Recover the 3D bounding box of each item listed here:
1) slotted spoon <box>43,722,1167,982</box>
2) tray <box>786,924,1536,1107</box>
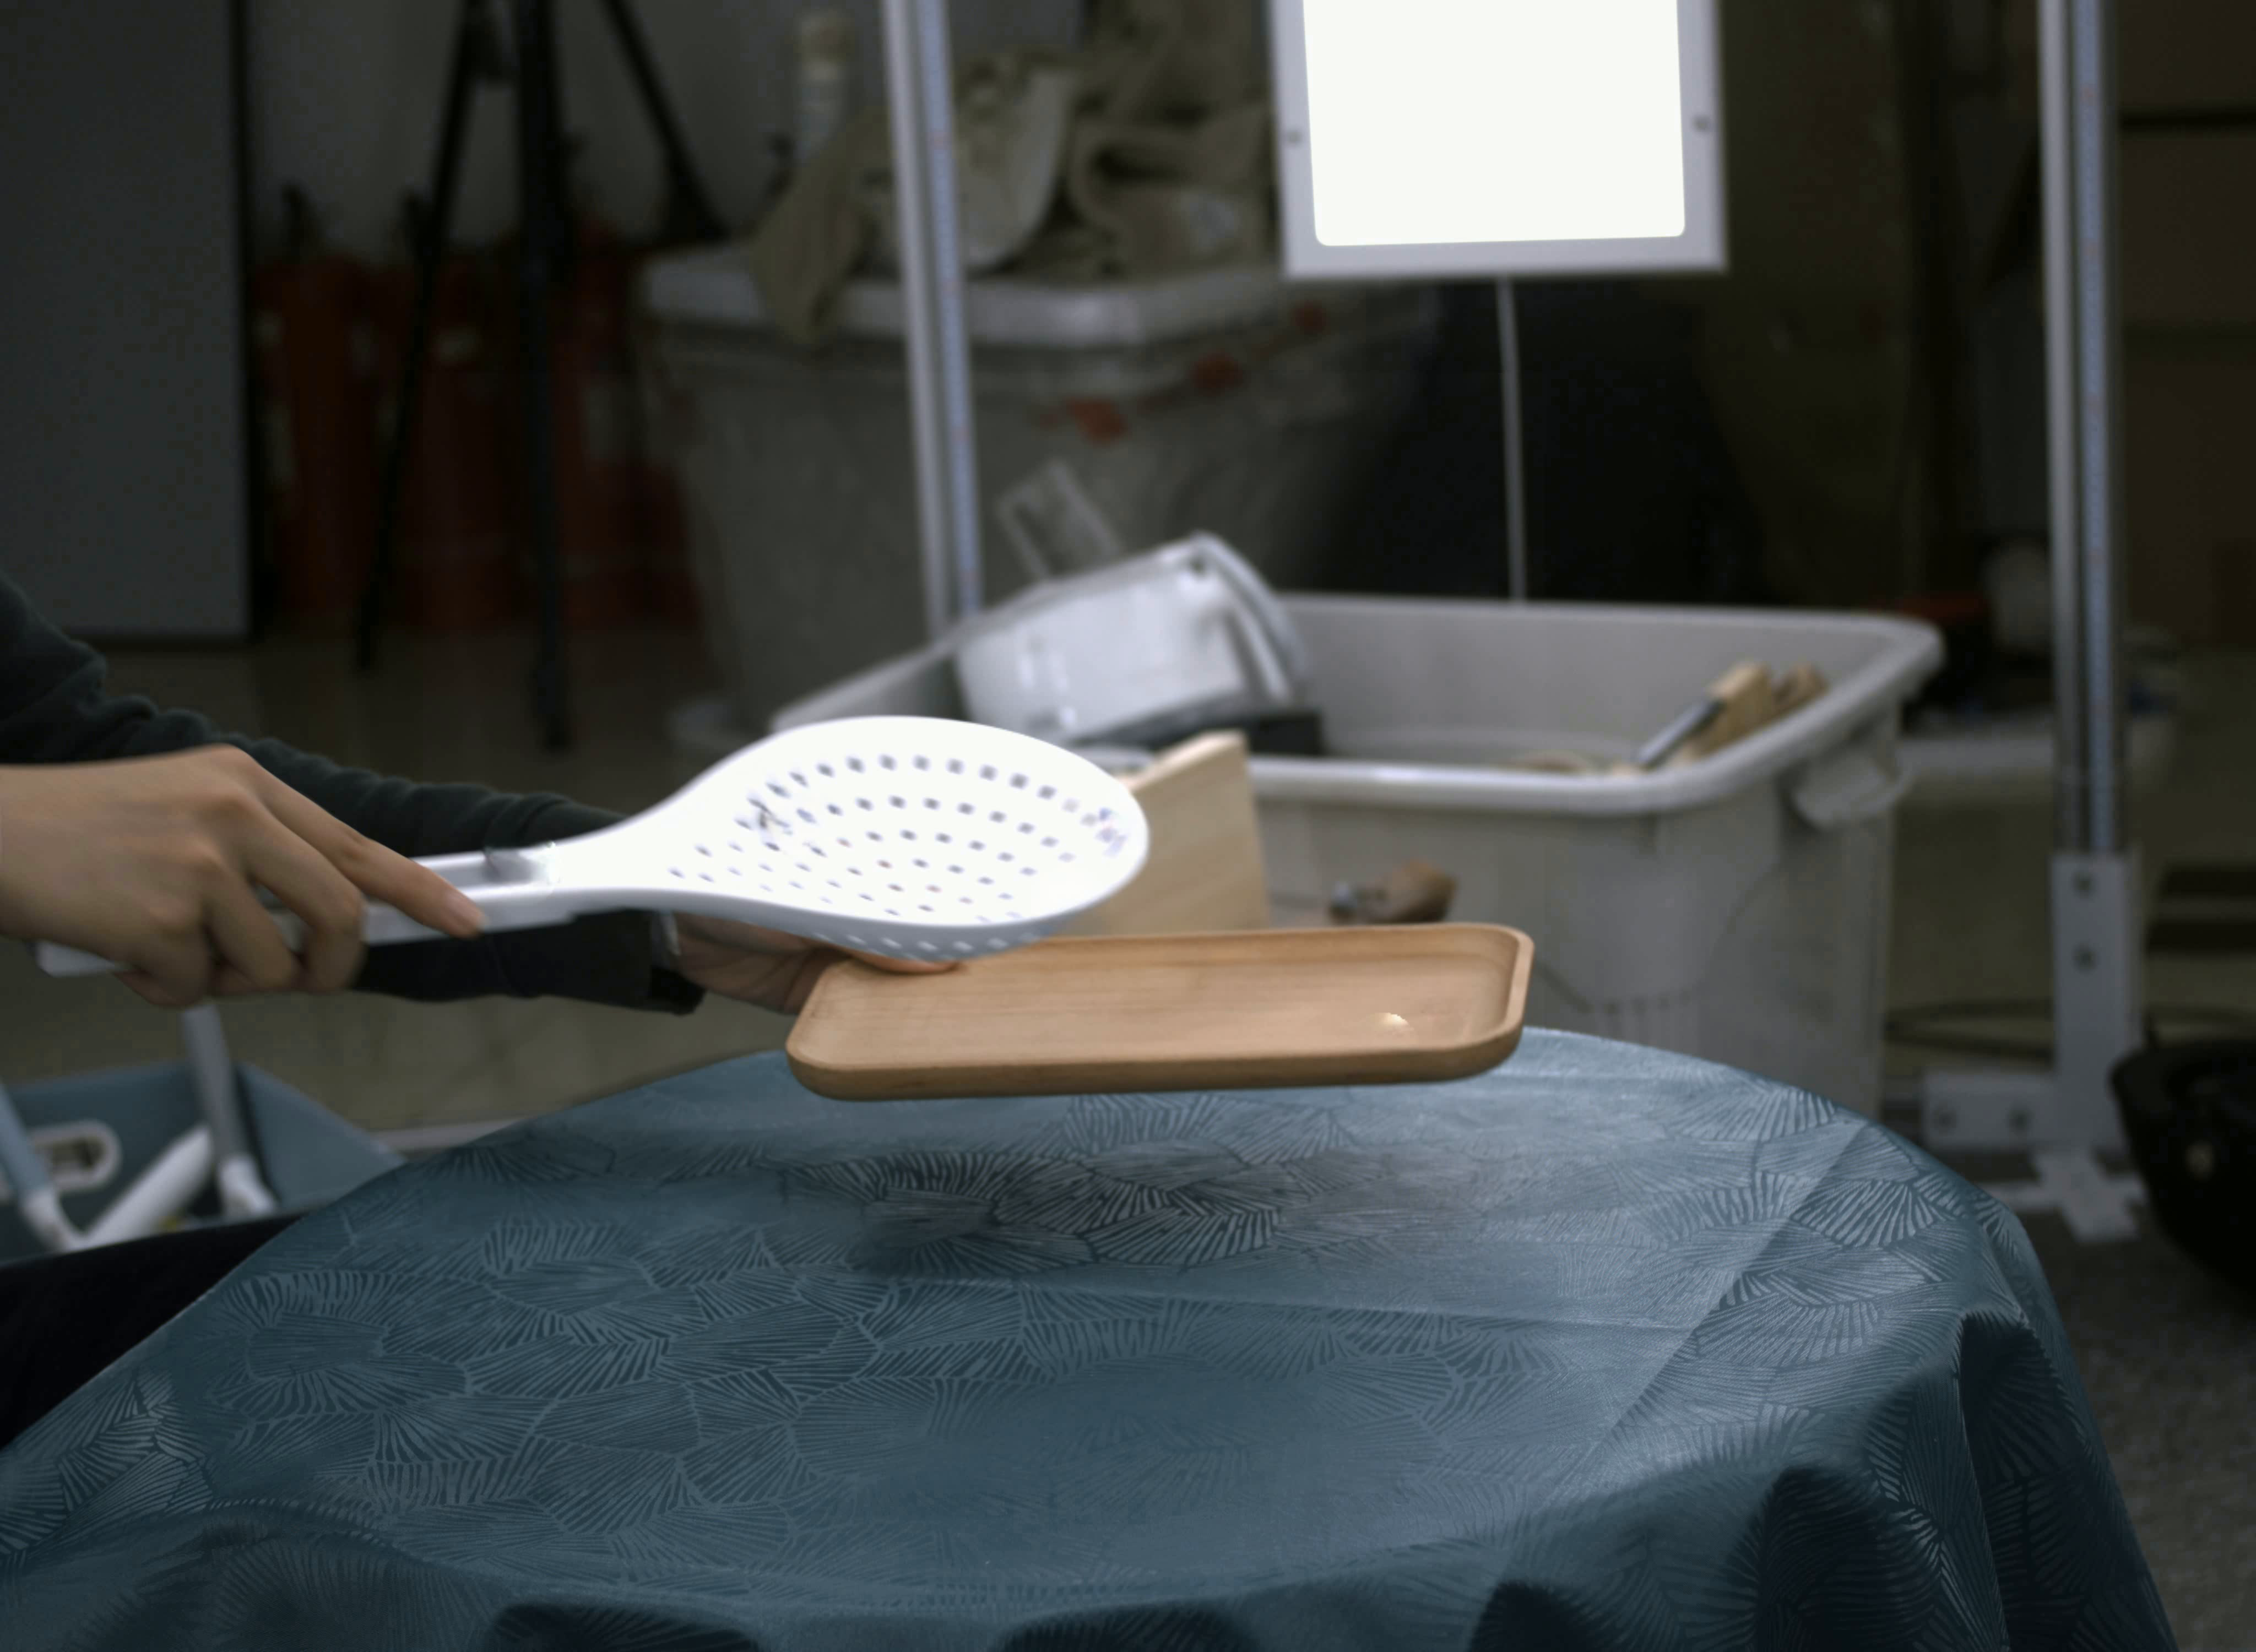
[{"bbox_3d":[-0.154,0.016,1.673,0.343,0.046,0.137,-2,27,-23],"label":"slotted spoon"},{"bbox_3d":[0.013,0.065,1.876,0.252,0.023,0.129,-3,16,11],"label":"tray"}]
